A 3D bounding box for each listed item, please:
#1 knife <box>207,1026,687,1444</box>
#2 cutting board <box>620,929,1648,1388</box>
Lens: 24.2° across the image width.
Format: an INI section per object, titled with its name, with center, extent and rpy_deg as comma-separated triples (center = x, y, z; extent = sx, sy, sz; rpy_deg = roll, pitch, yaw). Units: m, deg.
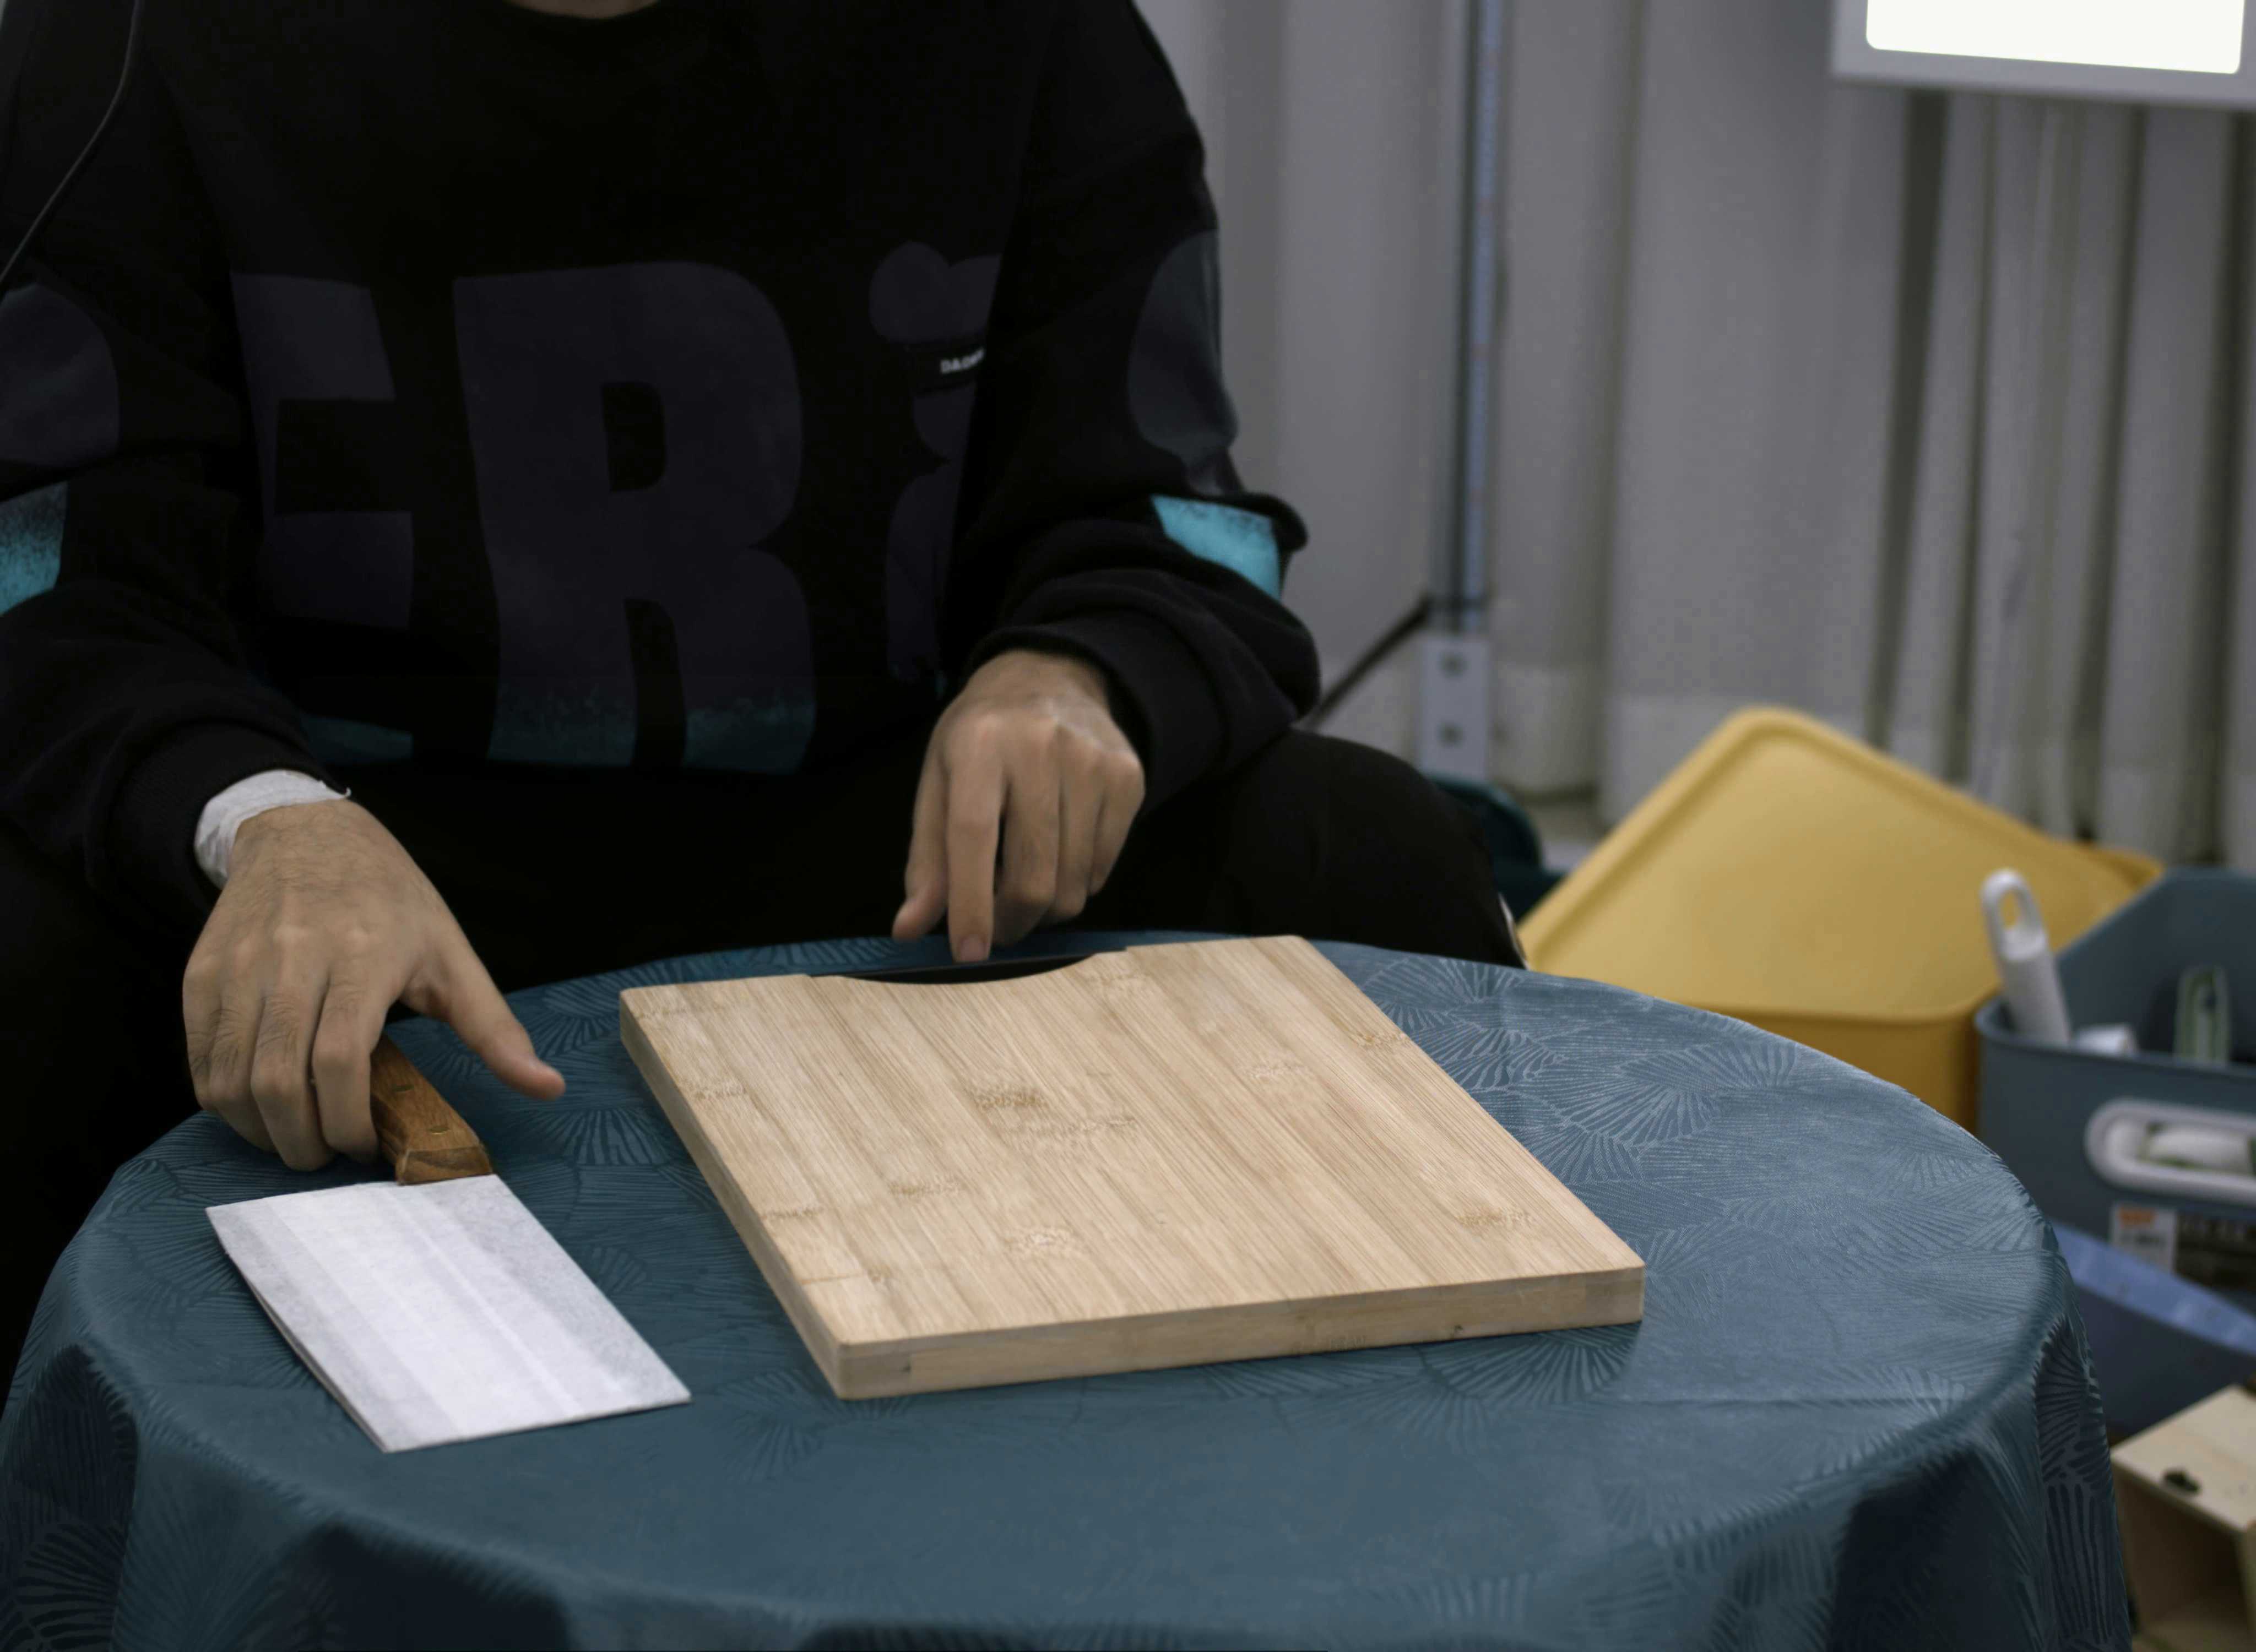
[knife]
center = -0.220, 0.120, 1.562
extent = 0.093, 0.021, 0.302
rpy_deg = -8, 20, -23
[cutting board]
center = -0.010, 0.098, 1.644
extent = 0.251, 0.024, 0.345
rpy_deg = -4, 16, -16
